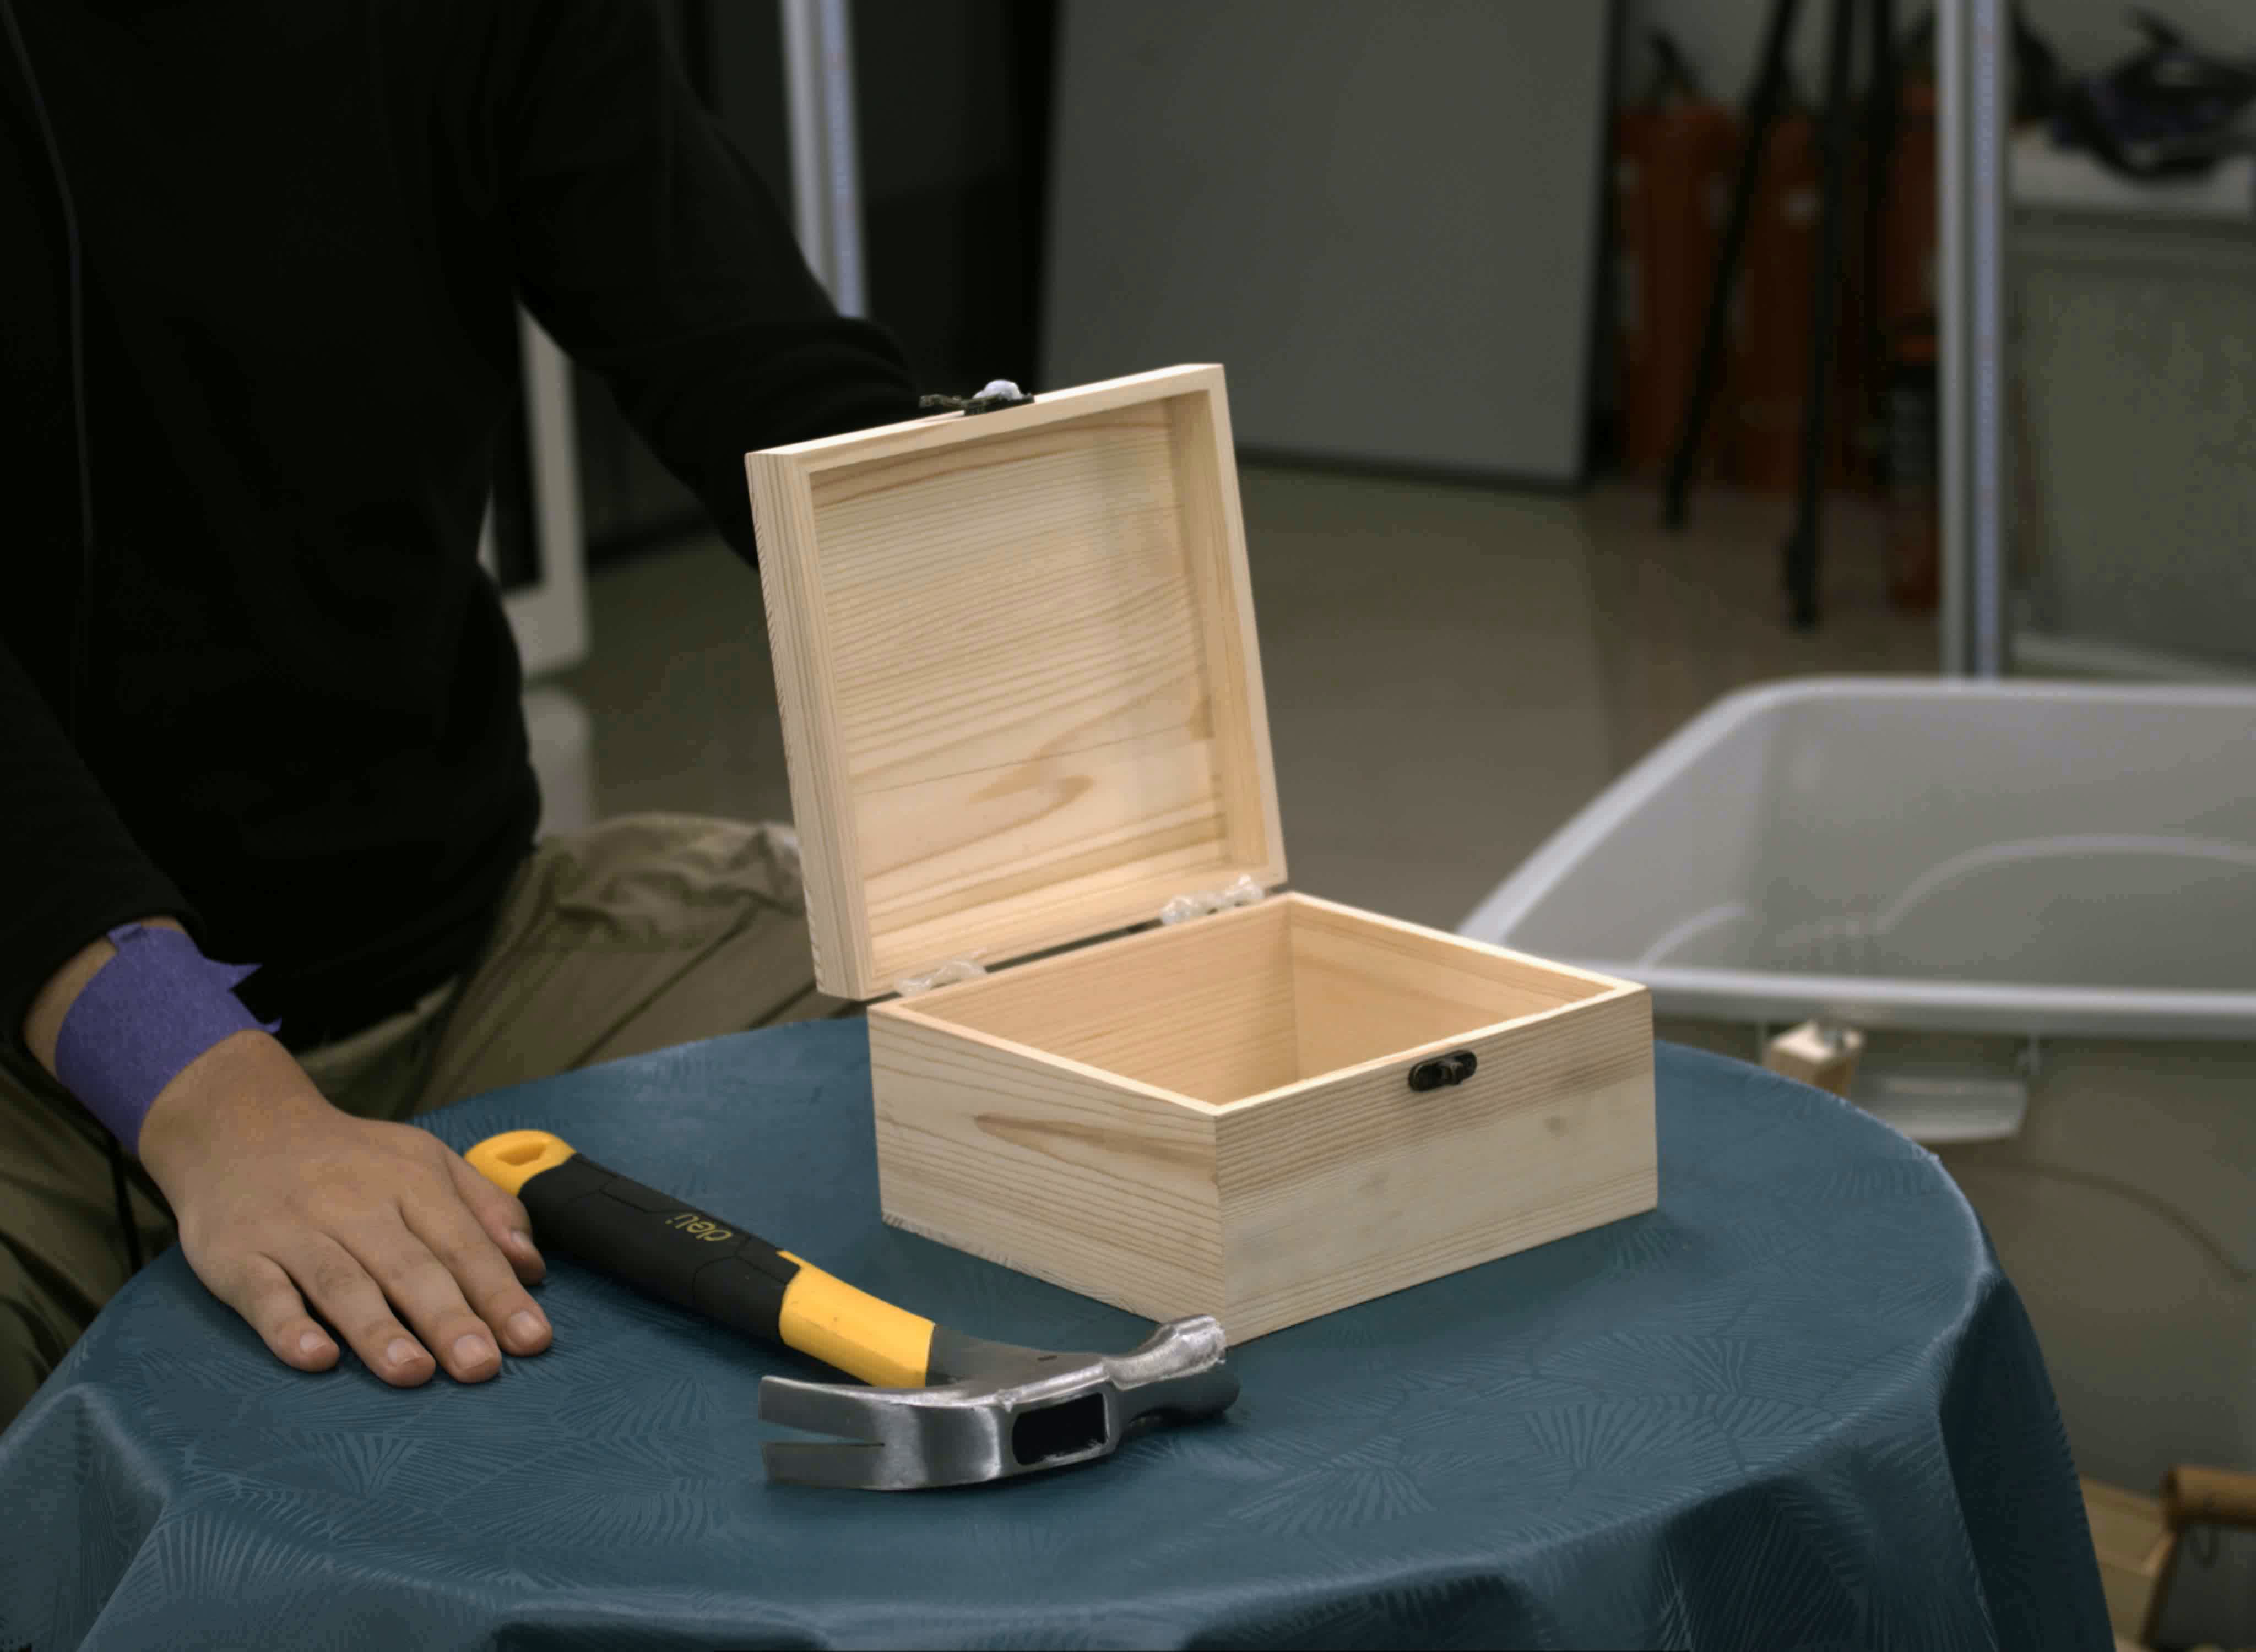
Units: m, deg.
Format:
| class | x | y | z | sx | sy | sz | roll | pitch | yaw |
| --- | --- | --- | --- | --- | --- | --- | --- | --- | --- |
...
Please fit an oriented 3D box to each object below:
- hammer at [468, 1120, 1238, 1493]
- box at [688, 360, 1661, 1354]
| class | x | y | z | sx | sy | sz | roll | pitch | yaw |
| --- | --- | --- | --- | --- | --- | --- | --- | --- | --- |
| hammer | -0.112 | 0.140 | 1.659 | 0.128 | 0.032 | 0.342 | -12 | 17 | -31 |
| box | 0.016 | 0.000 | 1.737 | 0.178 | 0.256 | 0.268 | -16 | 18 | -35 |
